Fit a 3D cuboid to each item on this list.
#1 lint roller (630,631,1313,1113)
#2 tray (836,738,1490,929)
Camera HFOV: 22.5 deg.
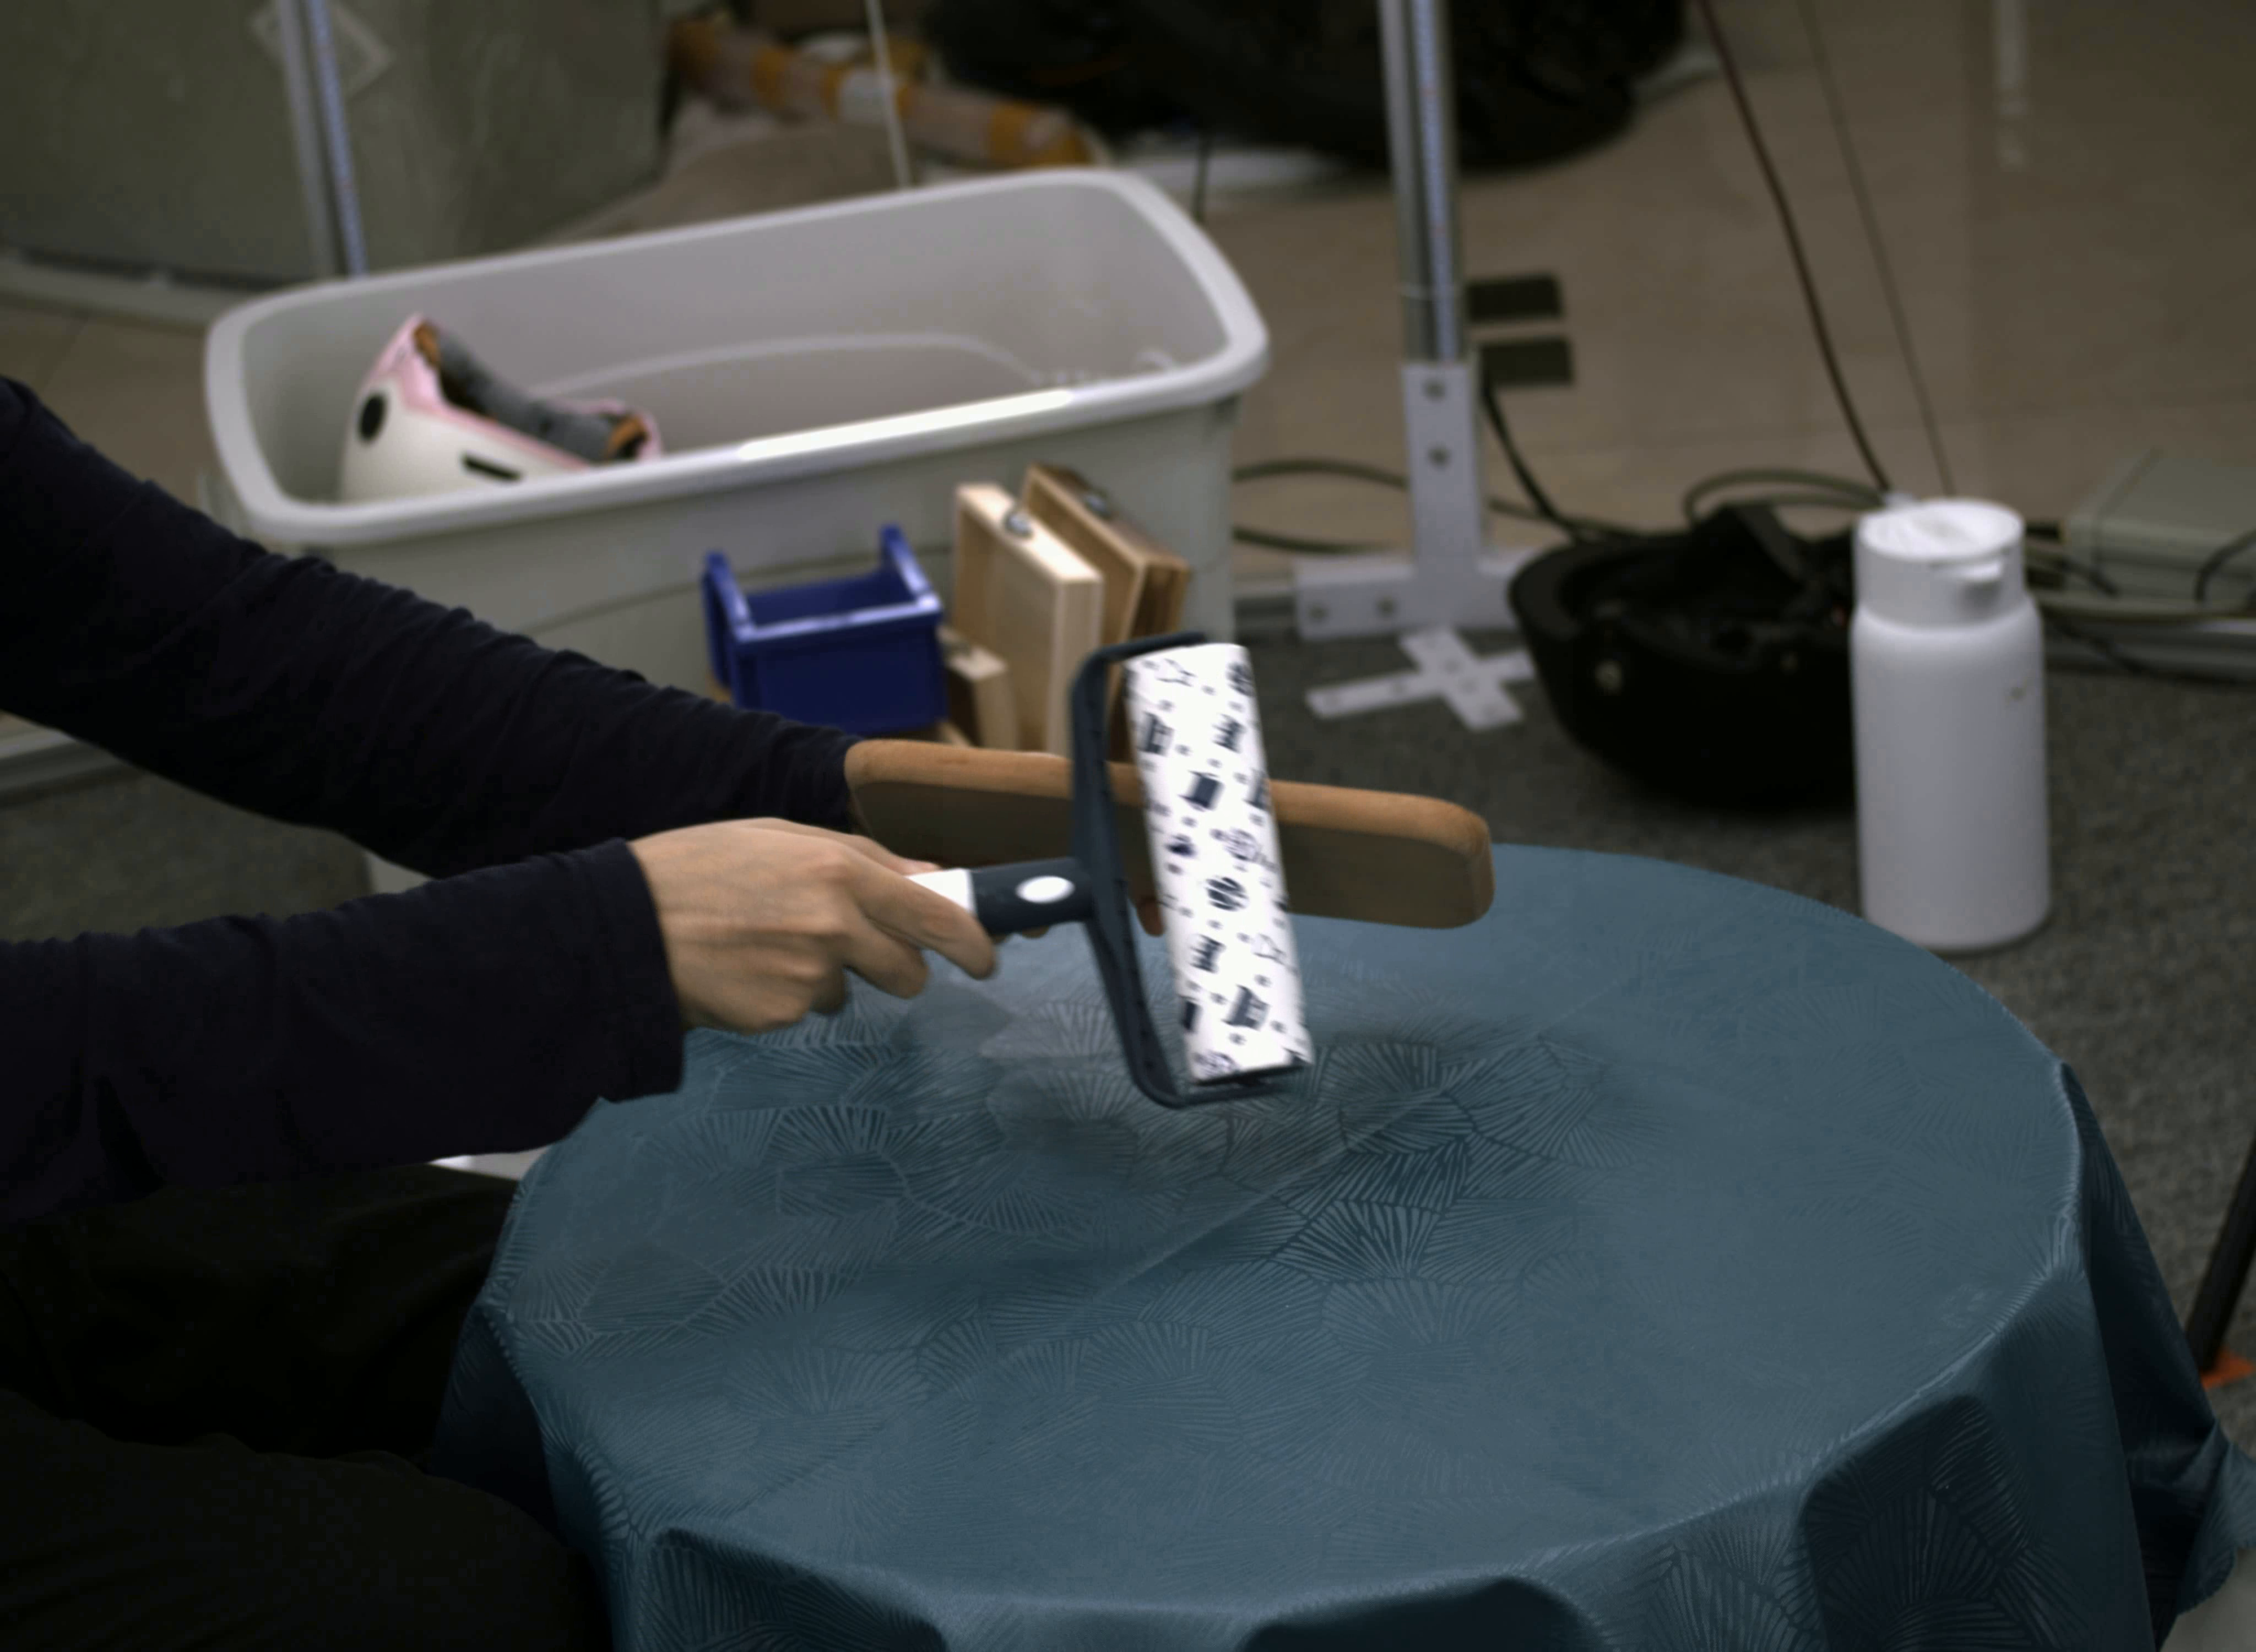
[{"bbox_3d":[-0.064,0.033,2.105,0.246,0.176,0.050,-9,-4,0],"label":"lint roller"},{"bbox_3d":[0.014,0.004,2.196,0.250,0.132,0.022,5,69,9],"label":"tray"}]
